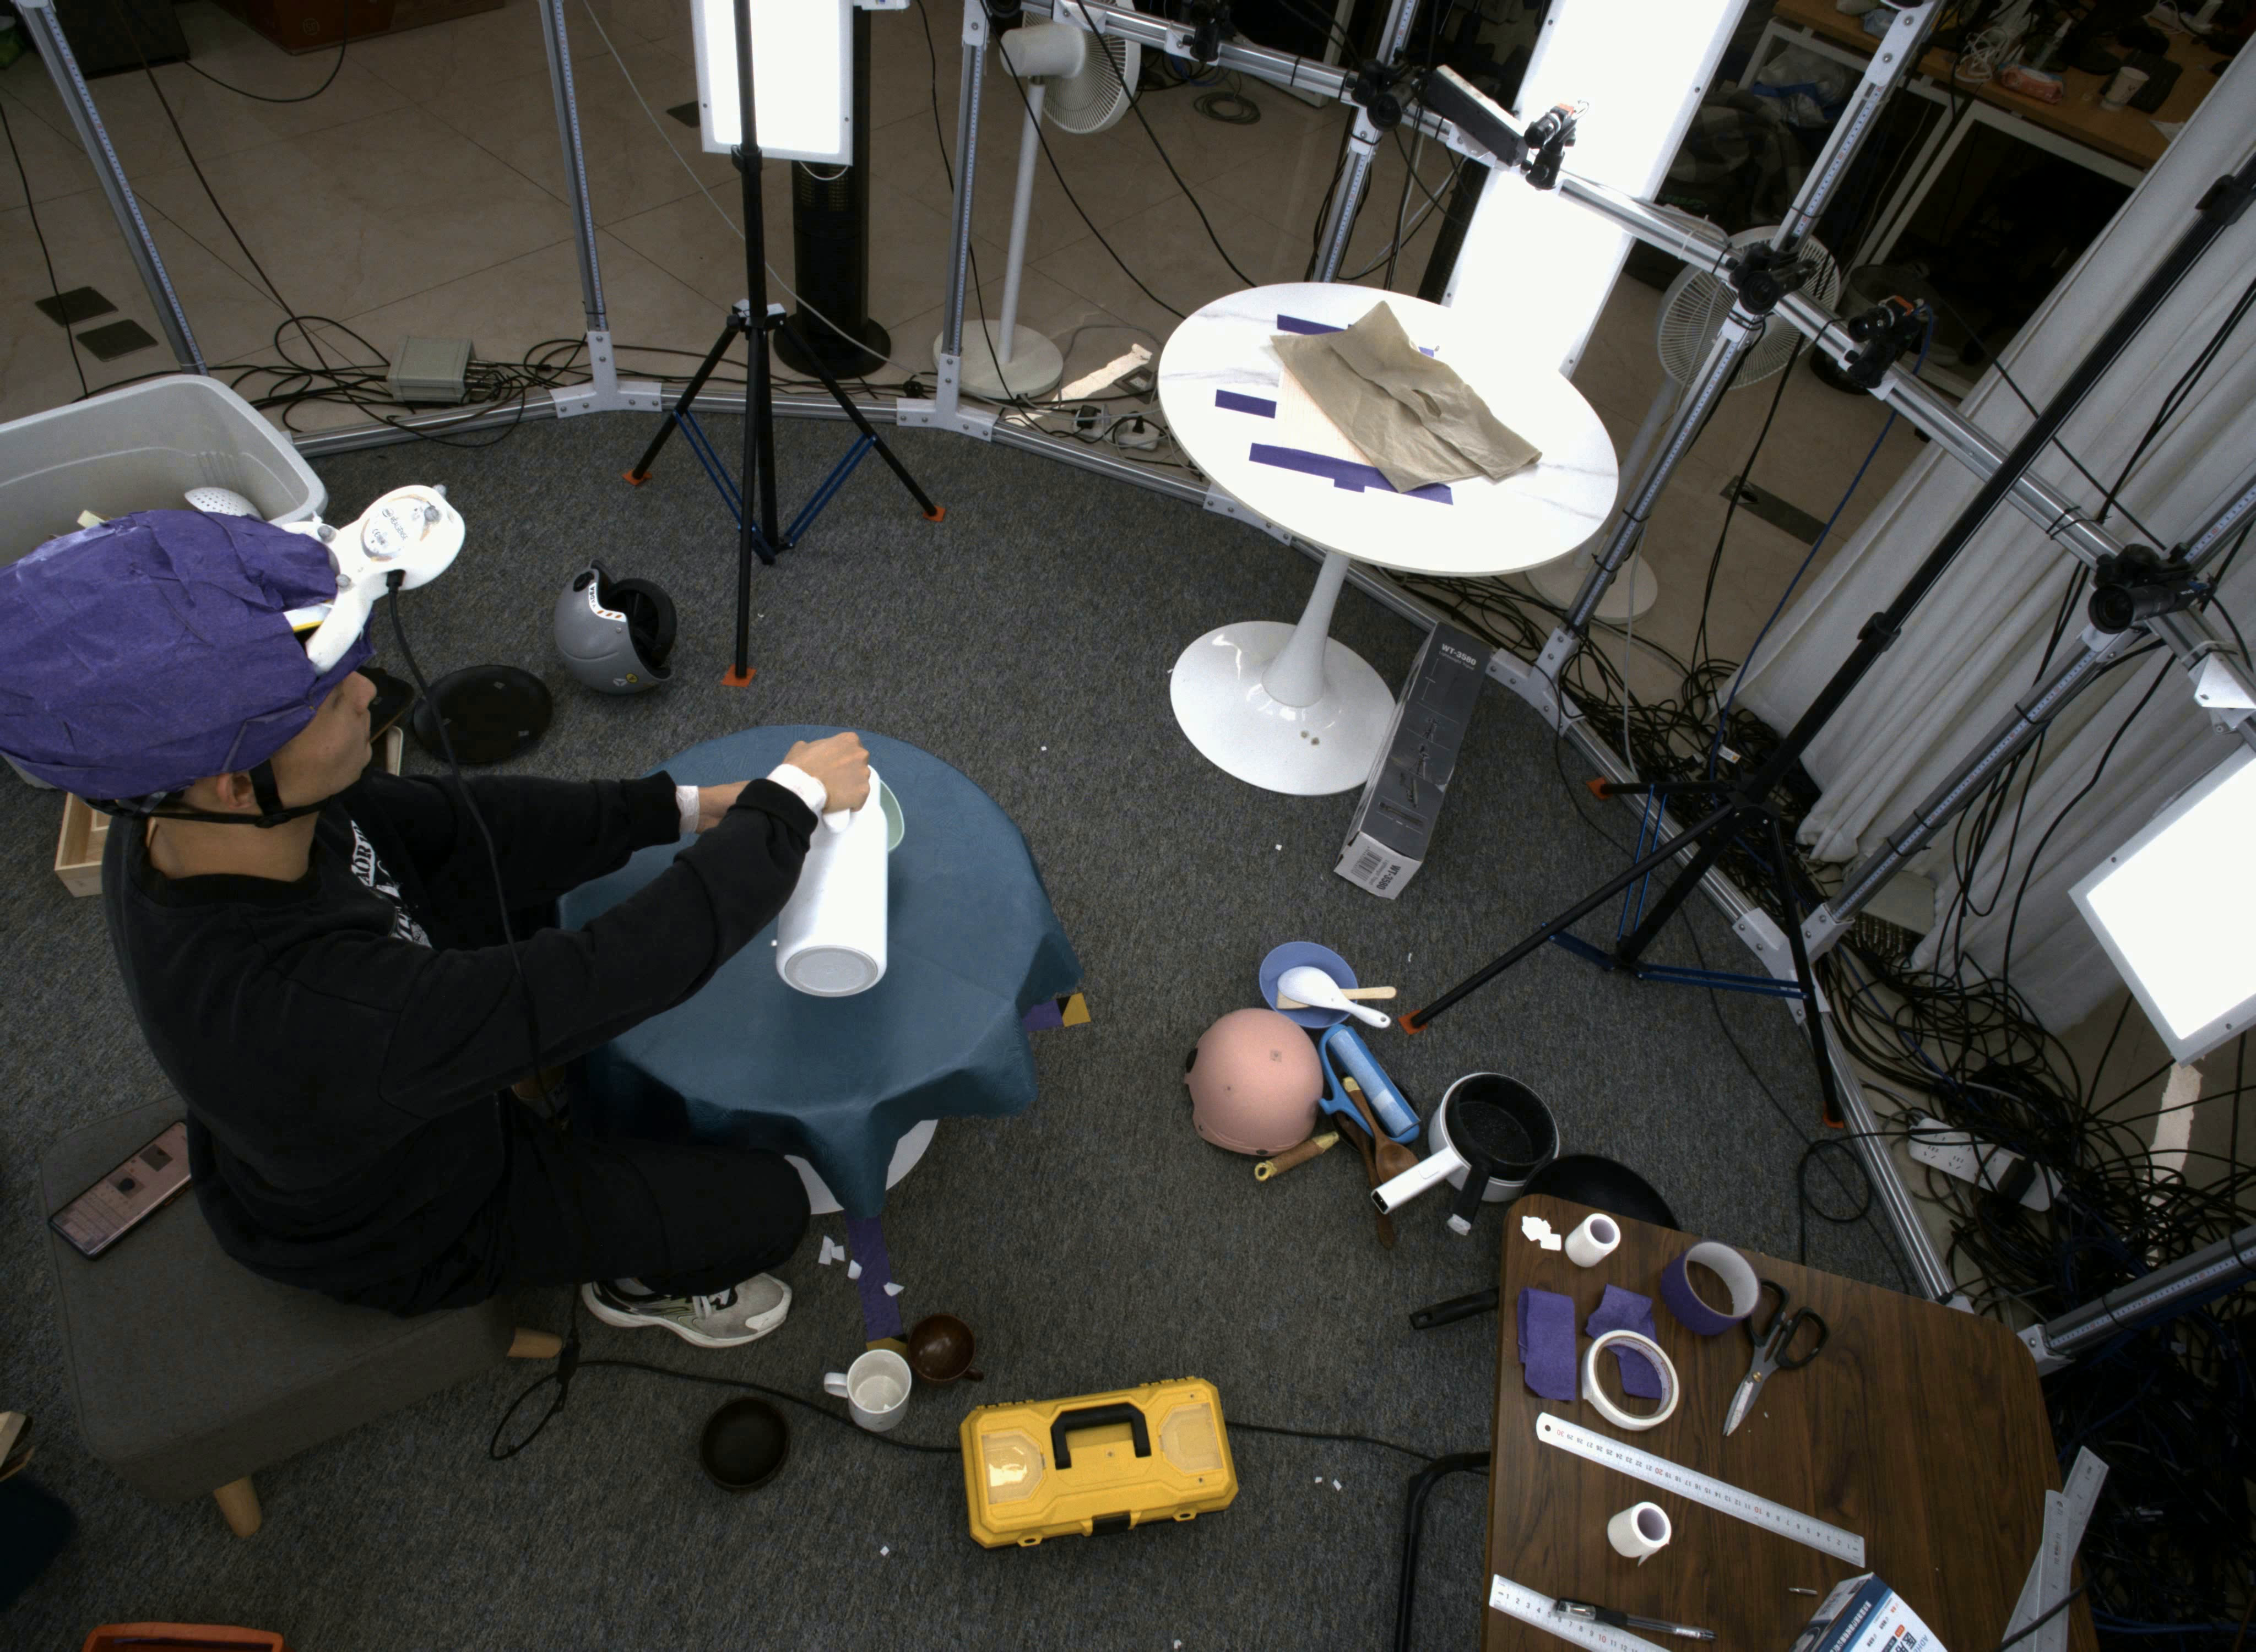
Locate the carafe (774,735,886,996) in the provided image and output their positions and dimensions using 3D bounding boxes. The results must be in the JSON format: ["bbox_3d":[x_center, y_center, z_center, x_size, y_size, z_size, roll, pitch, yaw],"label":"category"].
[{"bbox_3d":[-0.325,0.035,1.437,0.124,0.176,0.263,4,52,-12],"label":"carafe"}]

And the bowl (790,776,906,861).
[{"bbox_3d":[-0.356,0.008,1.652,0.151,0.060,0.149,6,58,-8],"label":"bowl"}]
